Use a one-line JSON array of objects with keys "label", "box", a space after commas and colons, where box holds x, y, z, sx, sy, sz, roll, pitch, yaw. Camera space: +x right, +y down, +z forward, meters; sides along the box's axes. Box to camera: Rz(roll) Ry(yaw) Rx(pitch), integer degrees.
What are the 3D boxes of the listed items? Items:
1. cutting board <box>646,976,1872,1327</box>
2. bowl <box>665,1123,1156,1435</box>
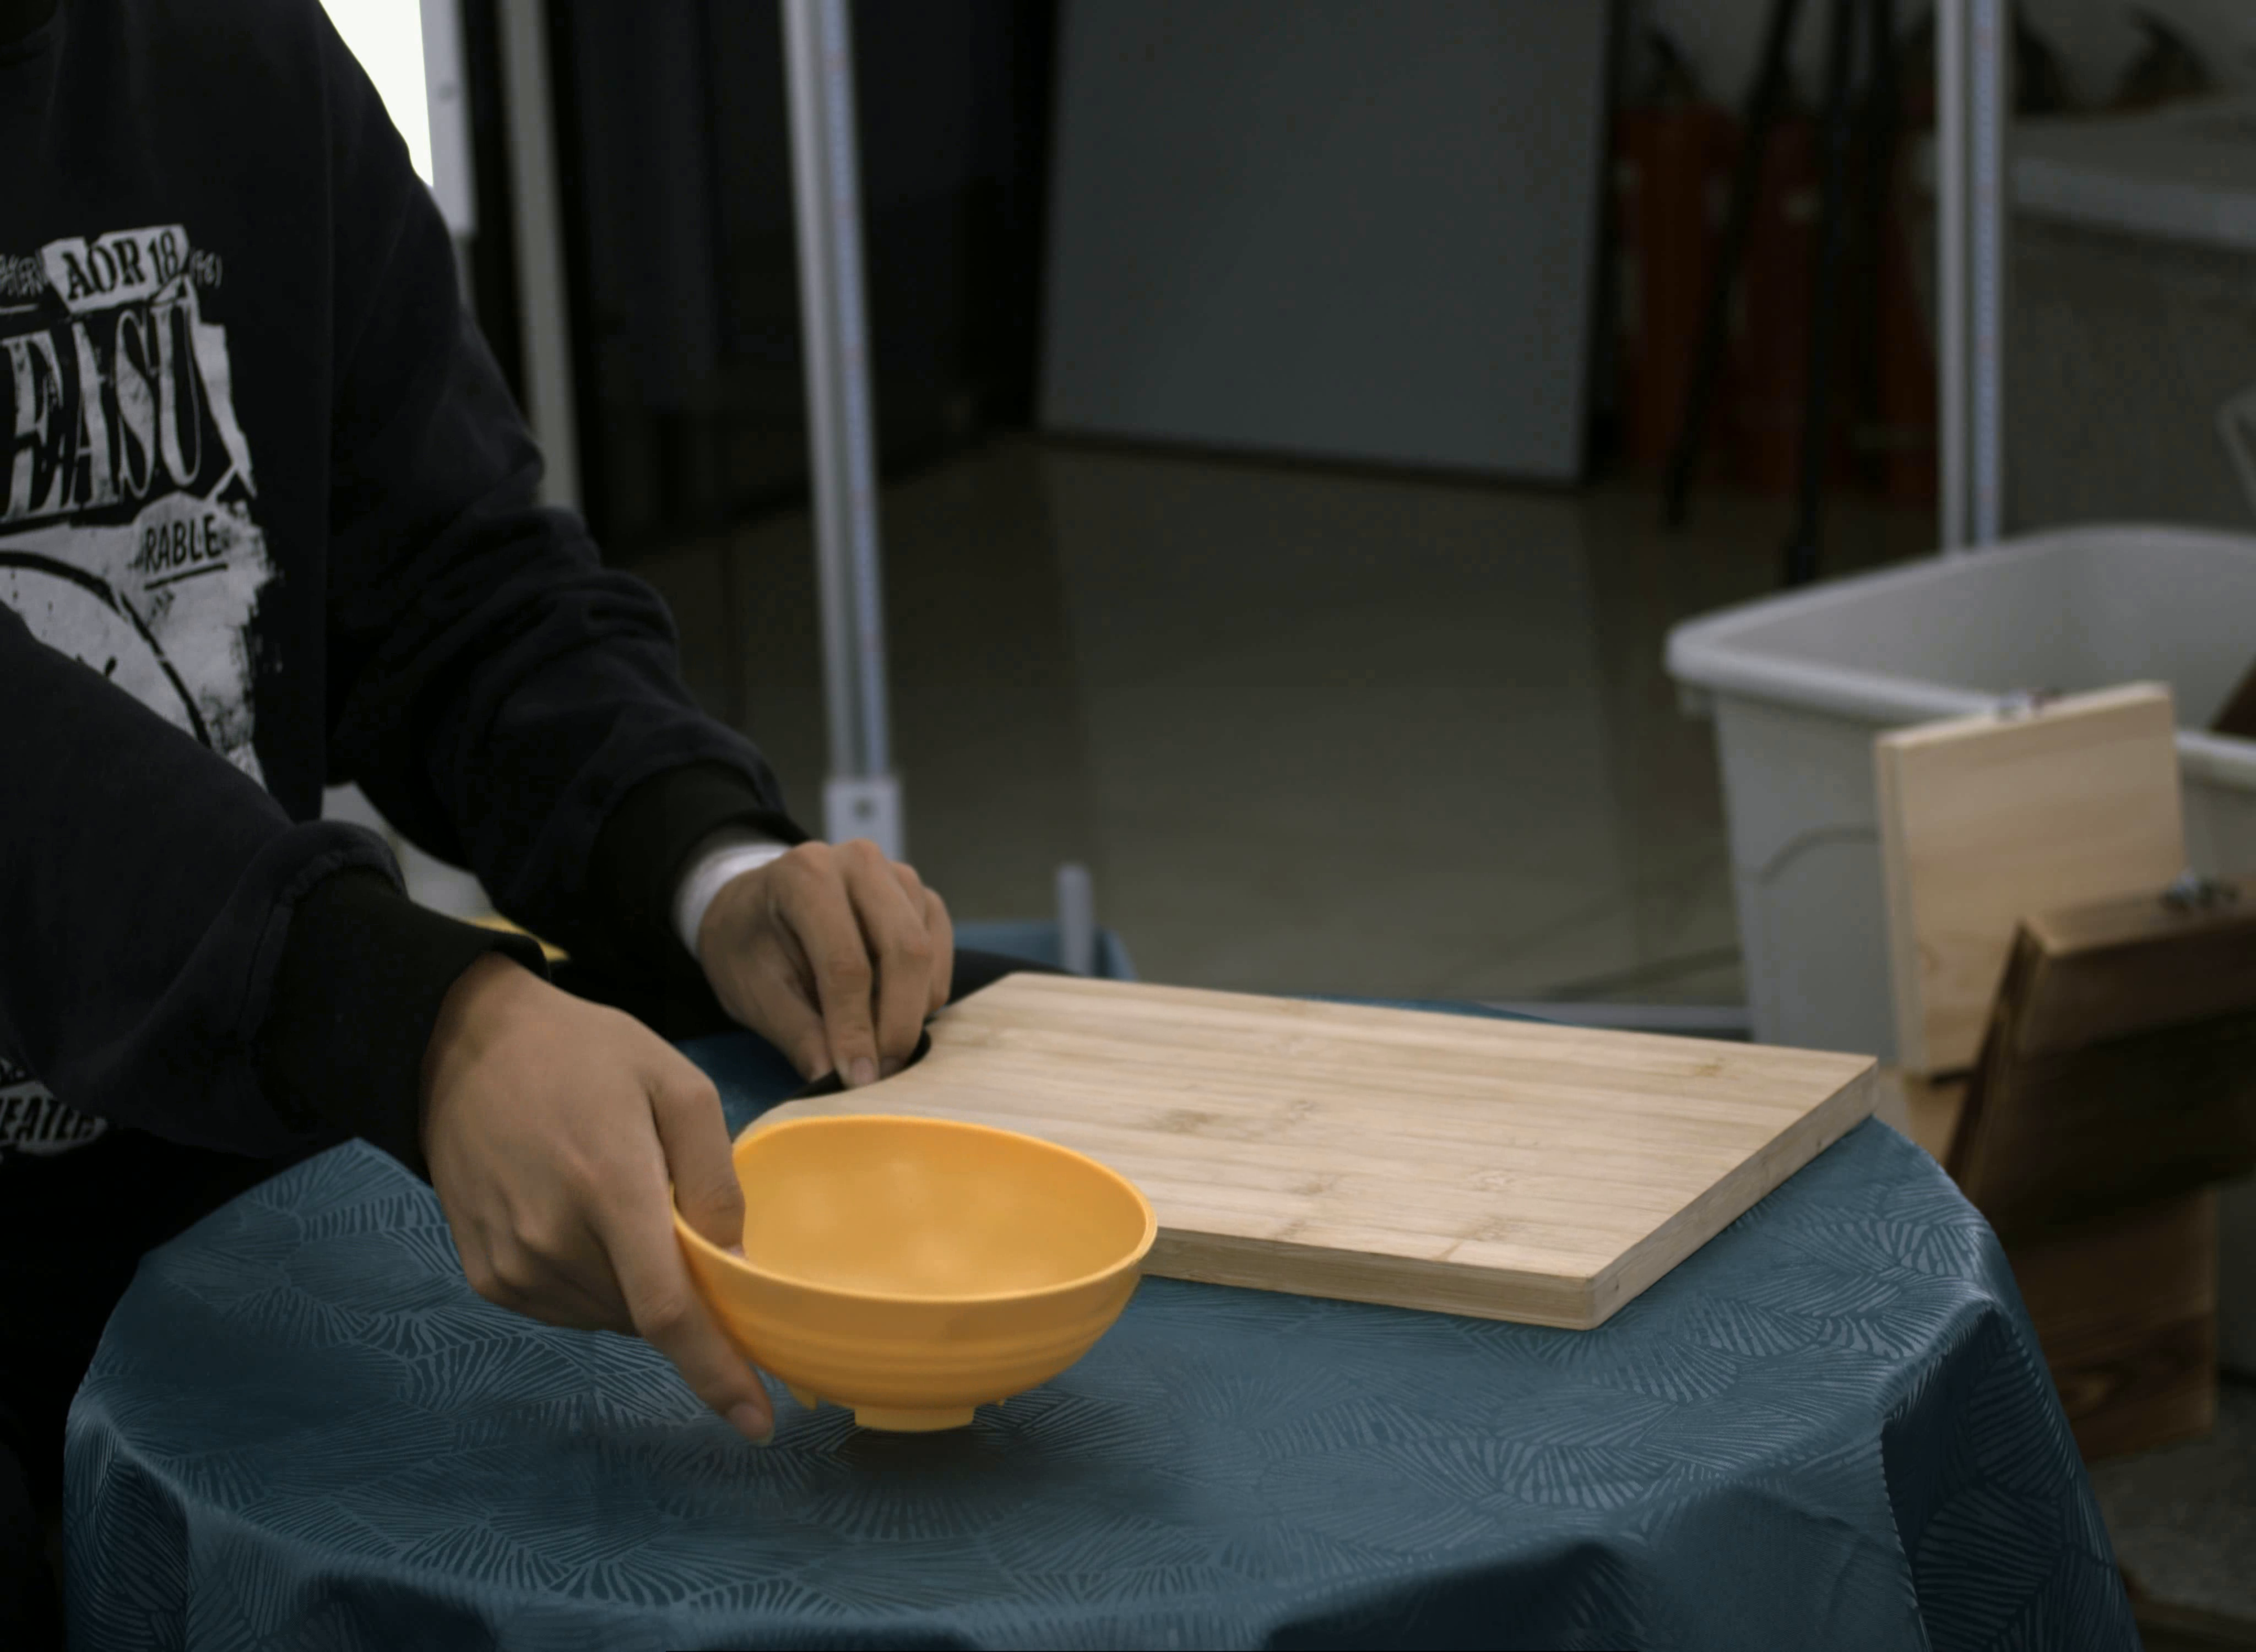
[{"label": "cutting board", "box": [0.045, 0.104, 1.795, 0.350, 0.024, 0.247, 4, 16, 29]}, {"label": "bowl", "box": [-0.065, 0.136, 1.559, 0.143, 0.061, 0.145, 5, 14, -2]}]
